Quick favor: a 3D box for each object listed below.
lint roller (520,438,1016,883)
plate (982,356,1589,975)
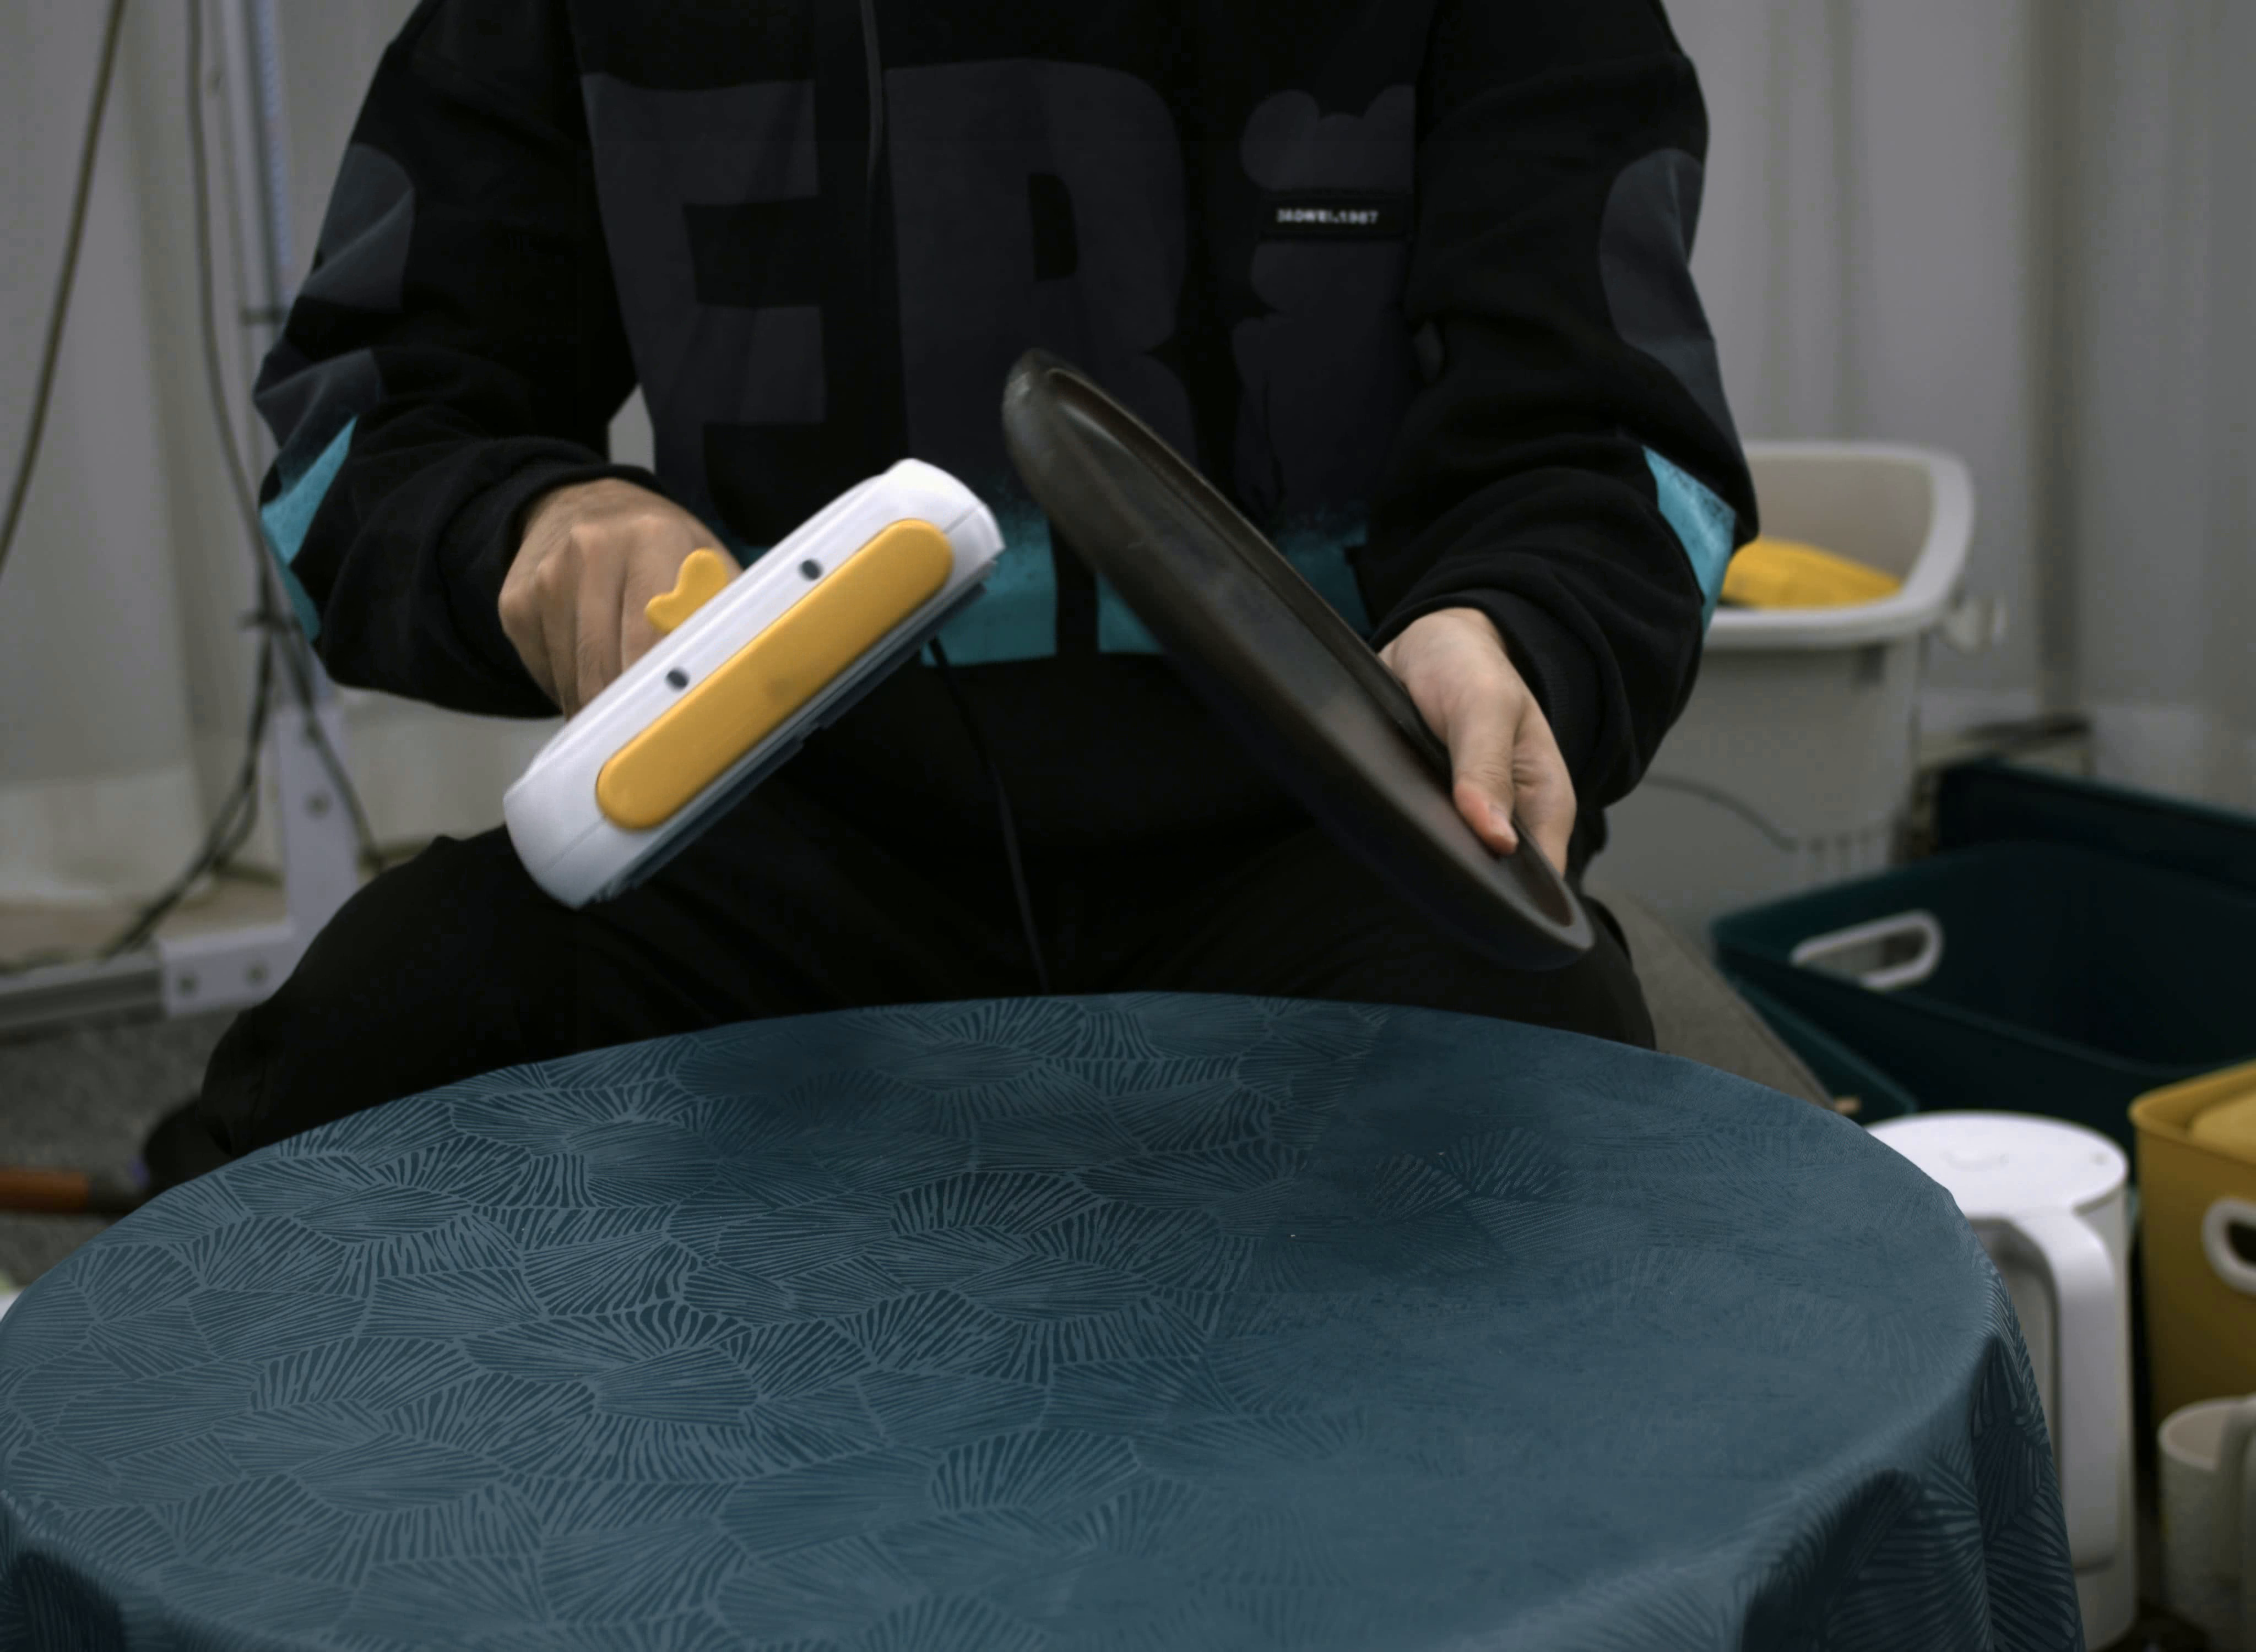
[{"bbox_3d":[-0.144,-0.057,1.850,0.193,0.074,0.192,-45,14,-19],"label":"lint roller"},{"bbox_3d":[0.046,-0.048,1.678,0.029,0.253,0.256,-45,12,9],"label":"plate"}]
